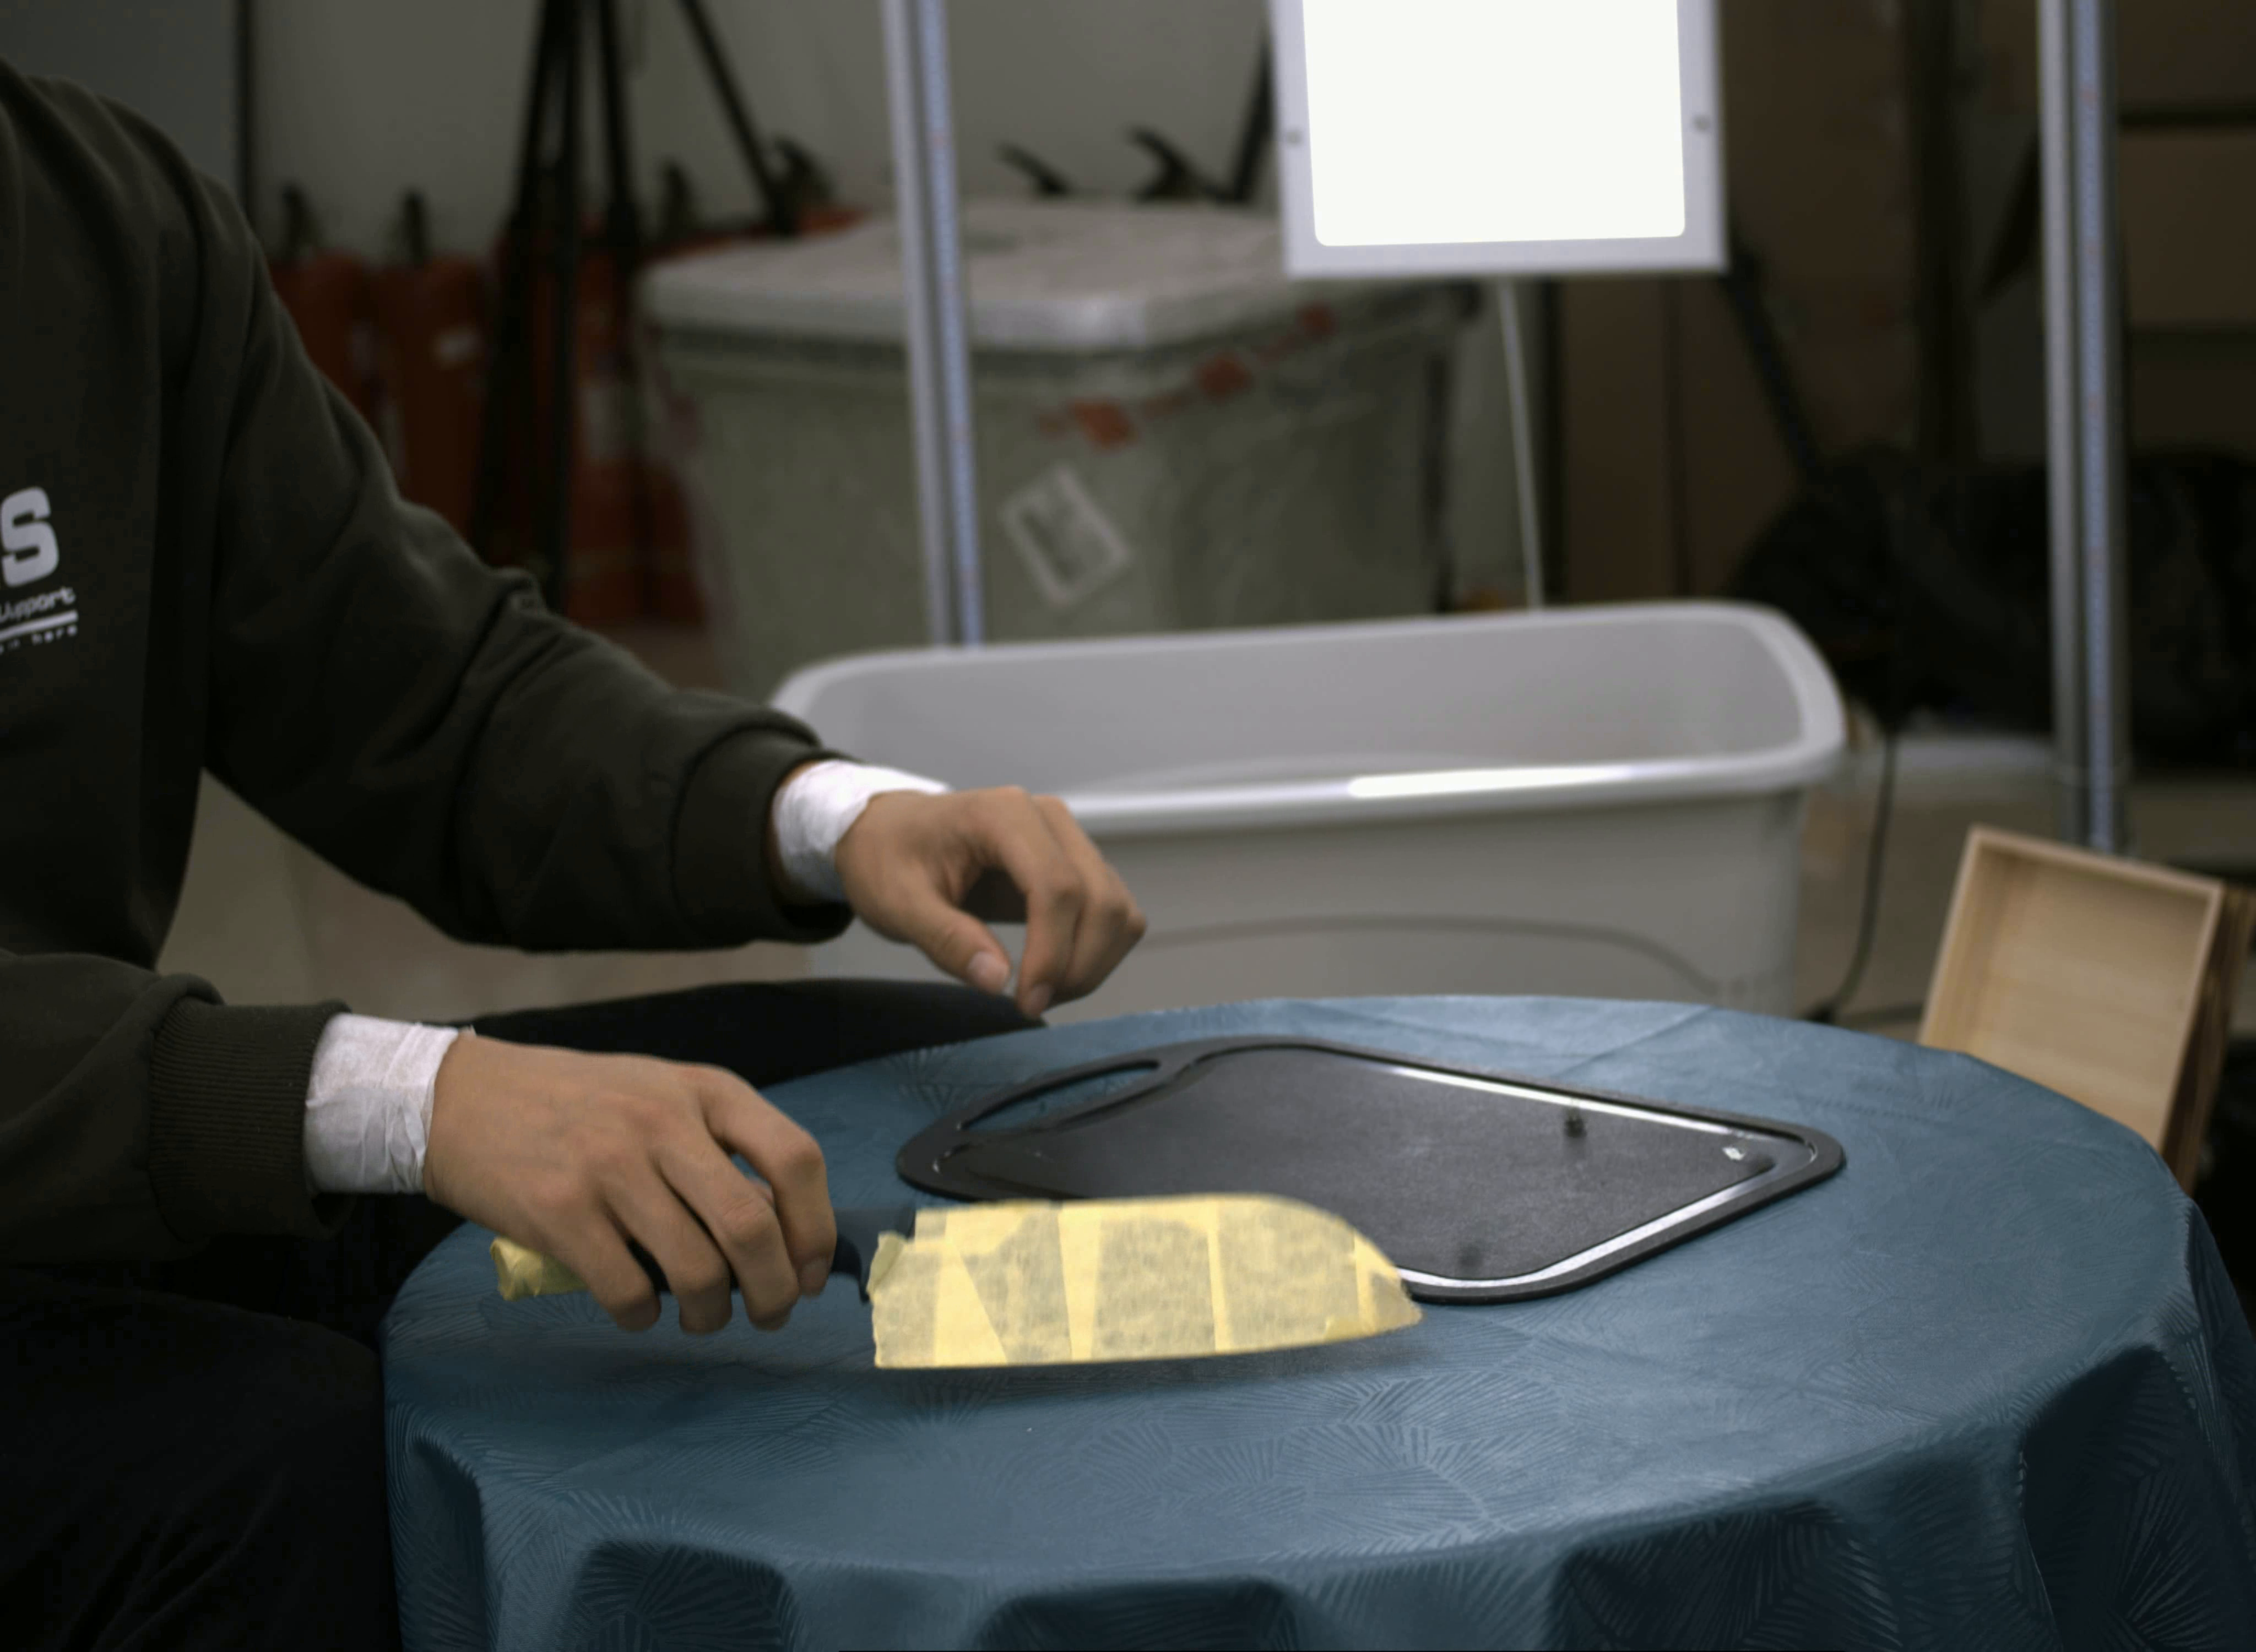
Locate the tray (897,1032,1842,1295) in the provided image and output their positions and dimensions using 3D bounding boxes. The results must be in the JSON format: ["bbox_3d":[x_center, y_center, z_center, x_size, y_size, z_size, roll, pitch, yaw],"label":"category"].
[{"bbox_3d":[0.075,0.112,1.917,0.206,0.010,0.332,-18,19,-42],"label":"tray"}]

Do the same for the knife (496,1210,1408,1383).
[{"bbox_3d":[-0.056,0.148,1.729,0.289,0.027,0.080,-2,34,4],"label":"knife"}]
